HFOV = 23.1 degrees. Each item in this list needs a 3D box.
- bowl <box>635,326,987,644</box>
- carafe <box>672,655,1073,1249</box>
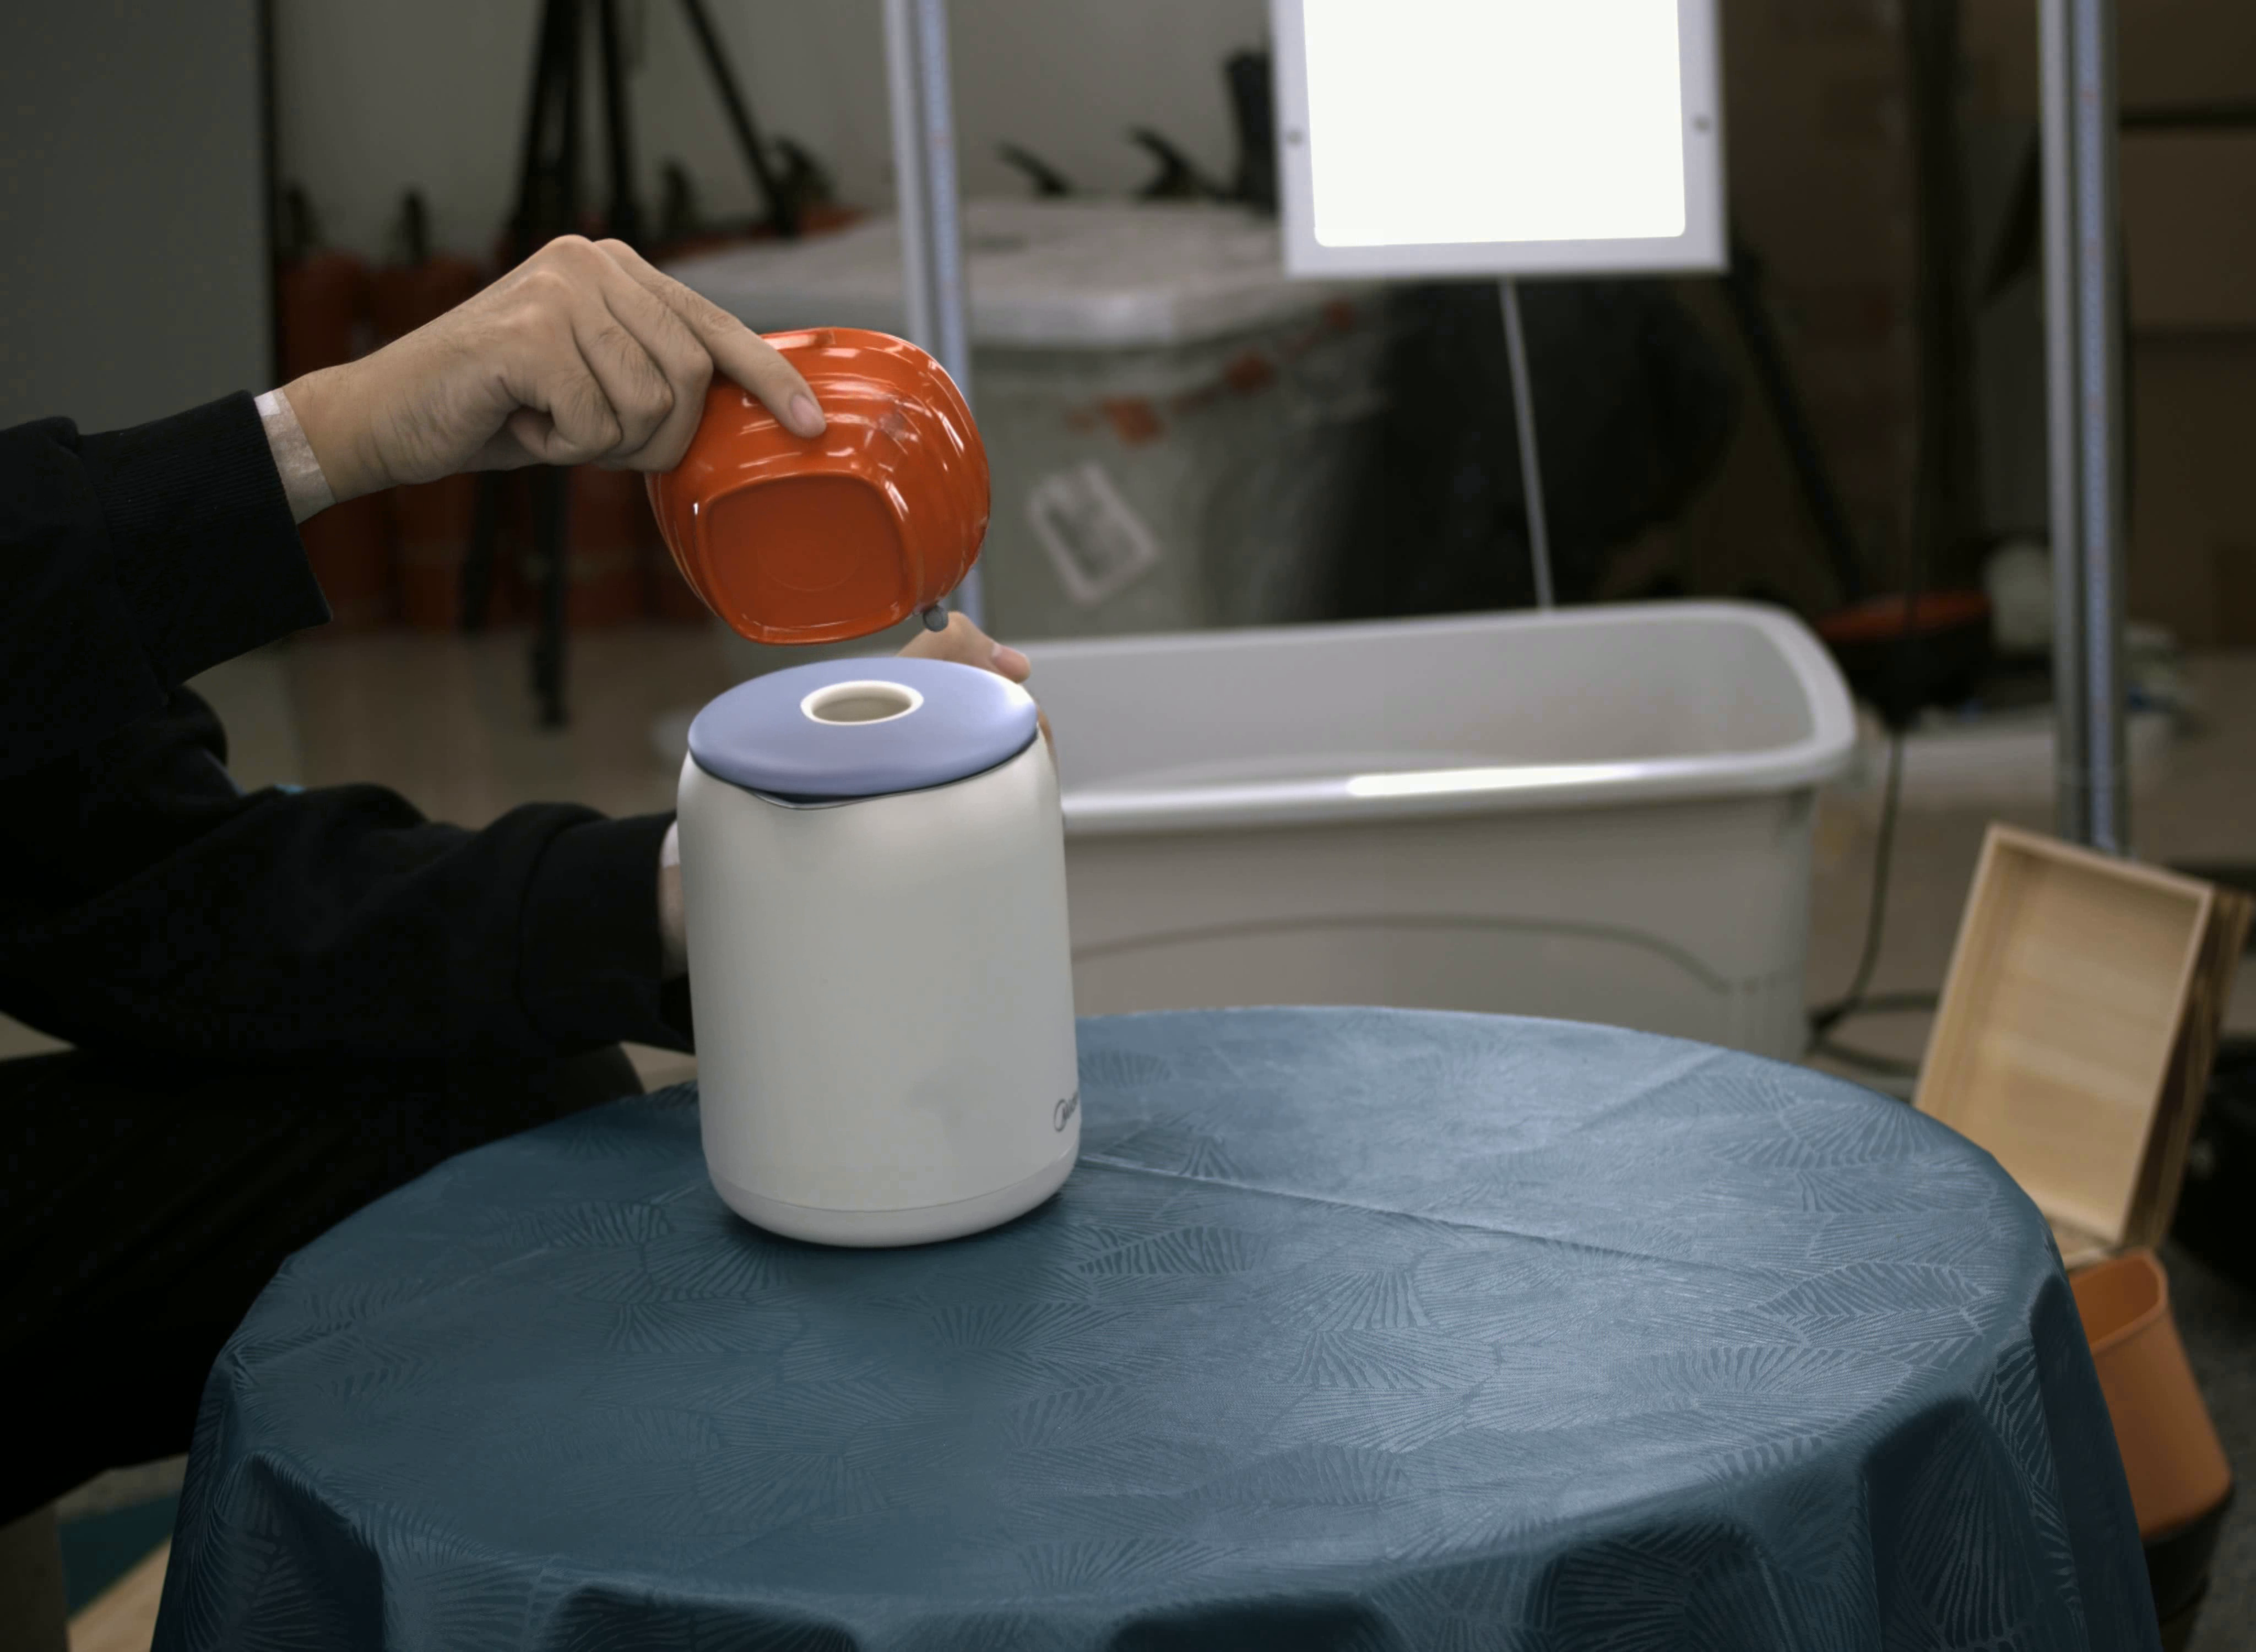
[{"bbox_3d":[-0.103,-0.099,1.744,0.119,0.119,0.051,-2,44,10],"label":"bowl"},{"bbox_3d":[-0.080,0.034,1.899,0.133,0.183,0.188,4,20,15],"label":"carafe"}]
